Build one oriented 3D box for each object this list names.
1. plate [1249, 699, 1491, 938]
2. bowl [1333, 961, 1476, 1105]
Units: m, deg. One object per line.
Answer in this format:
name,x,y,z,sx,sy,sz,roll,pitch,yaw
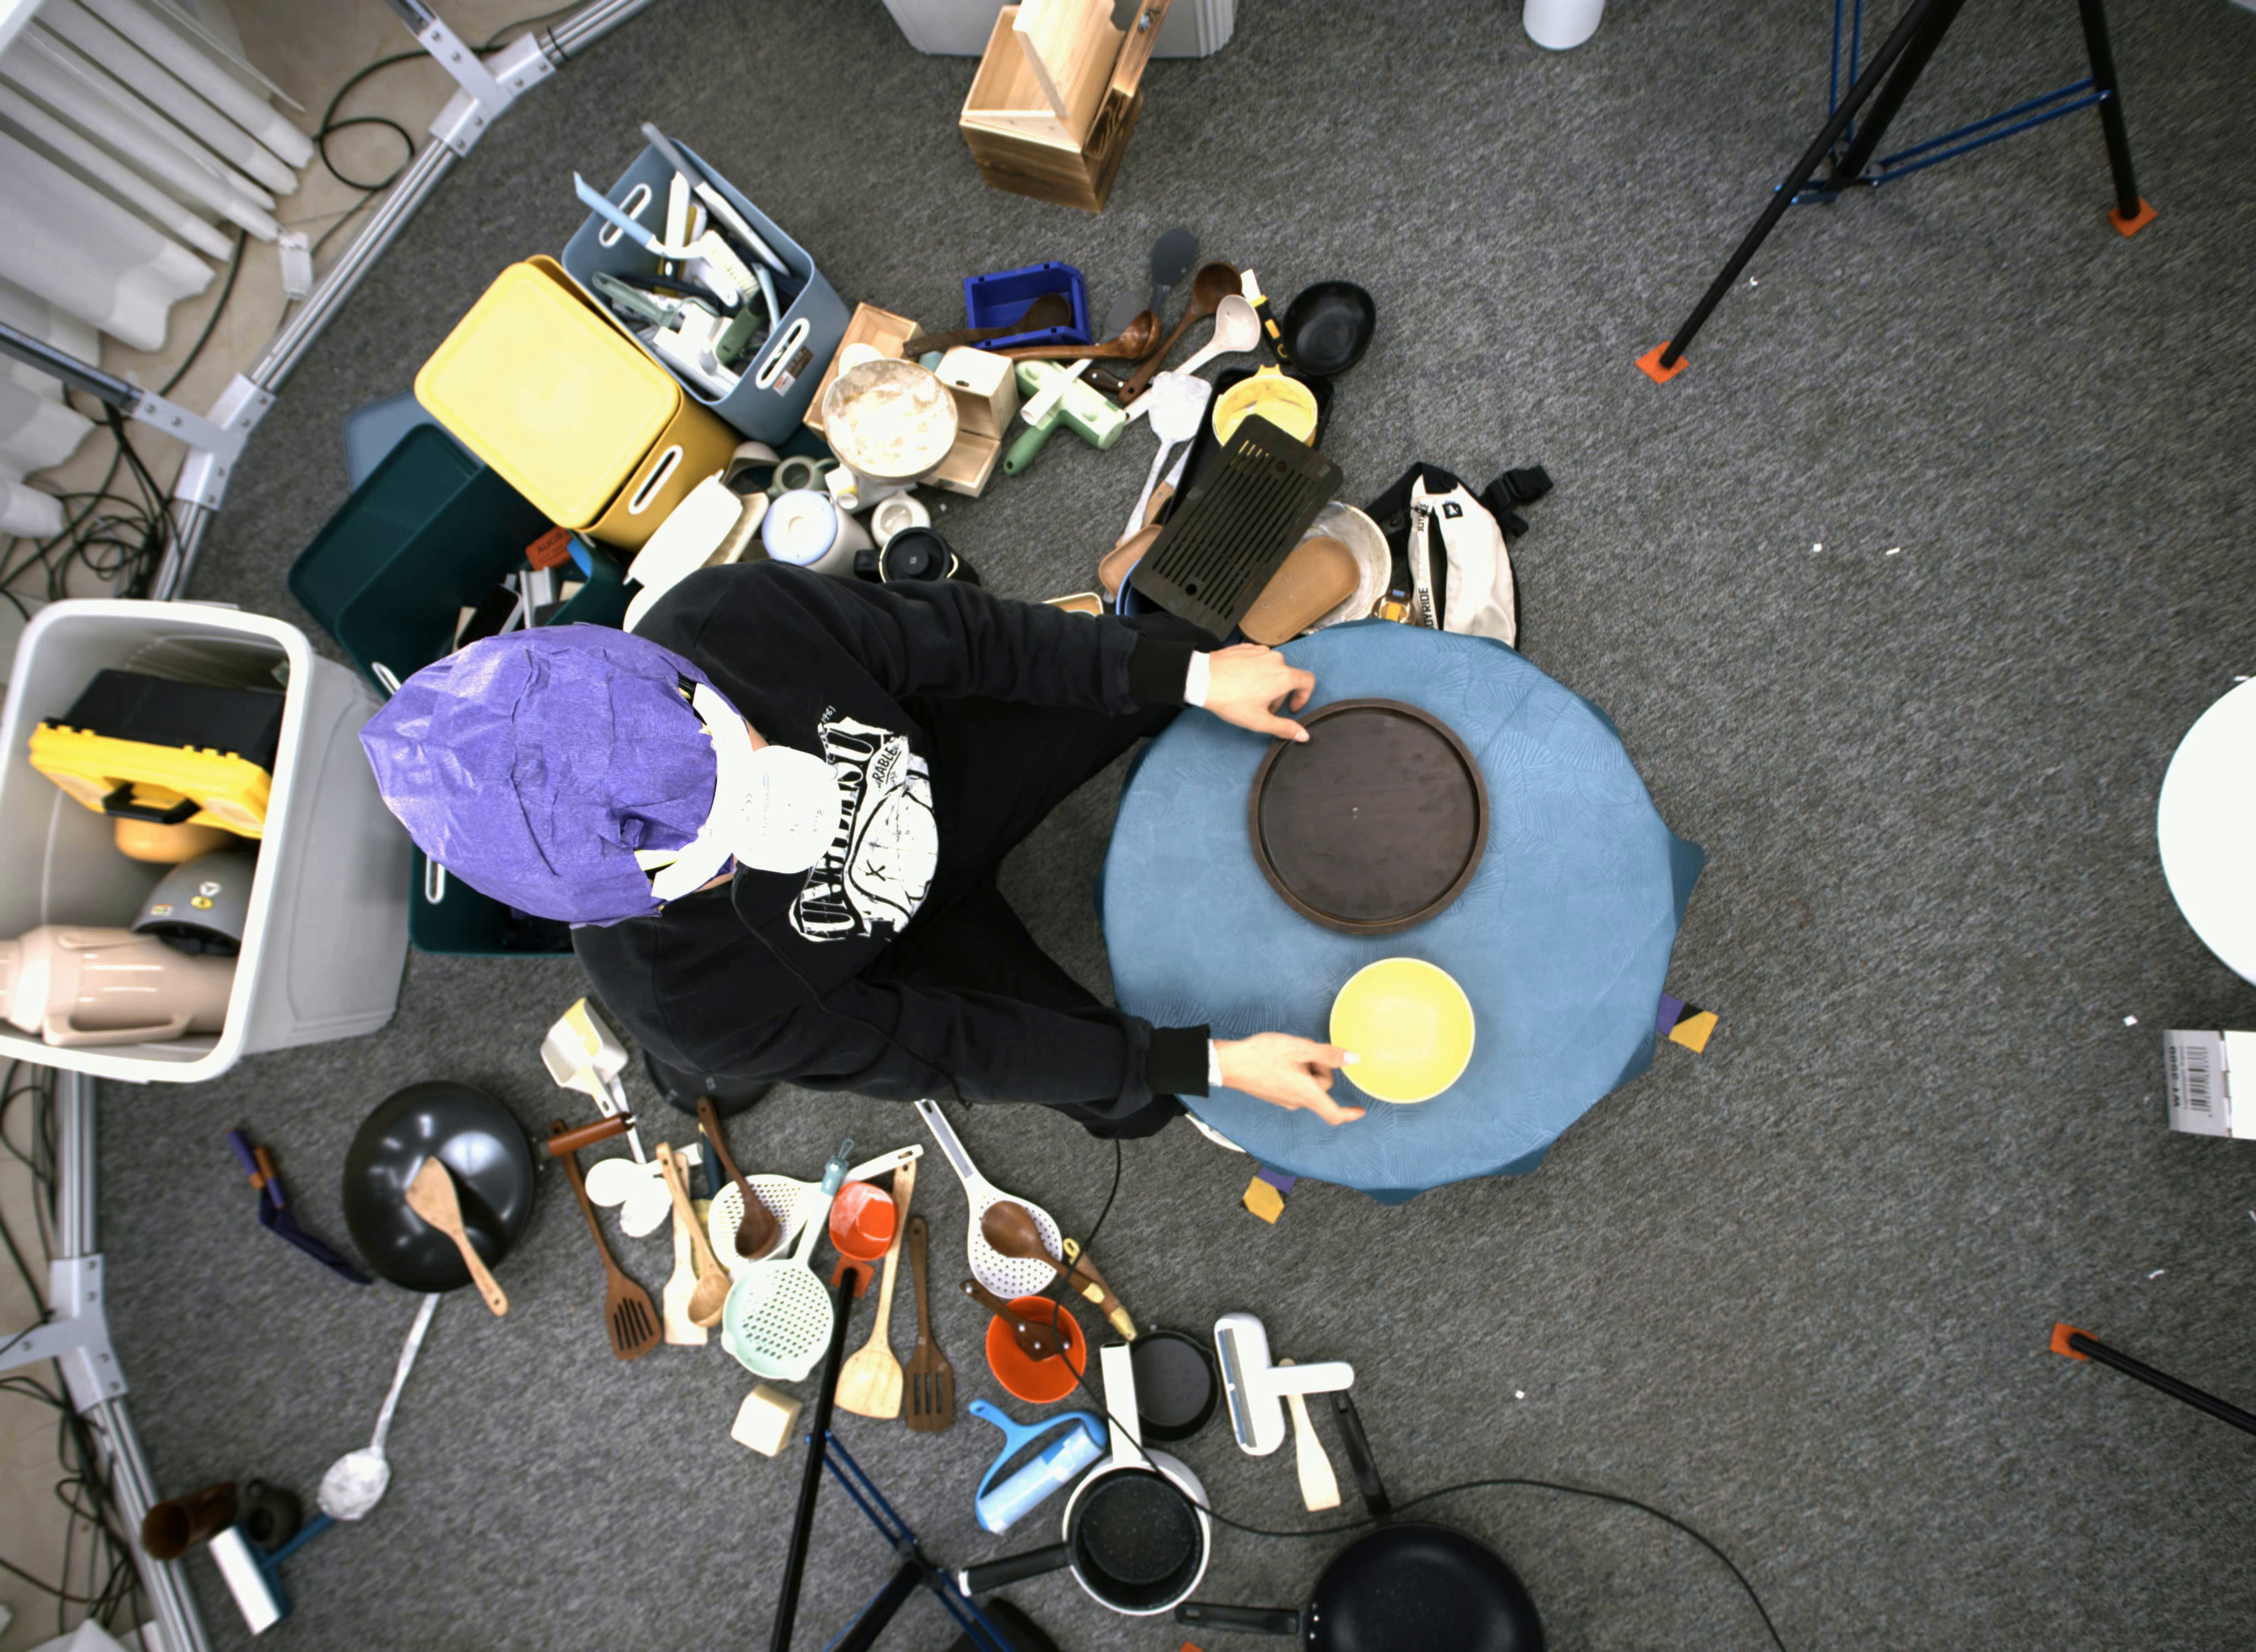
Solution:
plate,0.255,-0.009,1.461,0.256,0.029,0.254,-1,87,11
bowl,0.285,0.211,1.424,0.146,0.060,0.144,-2,84,12
